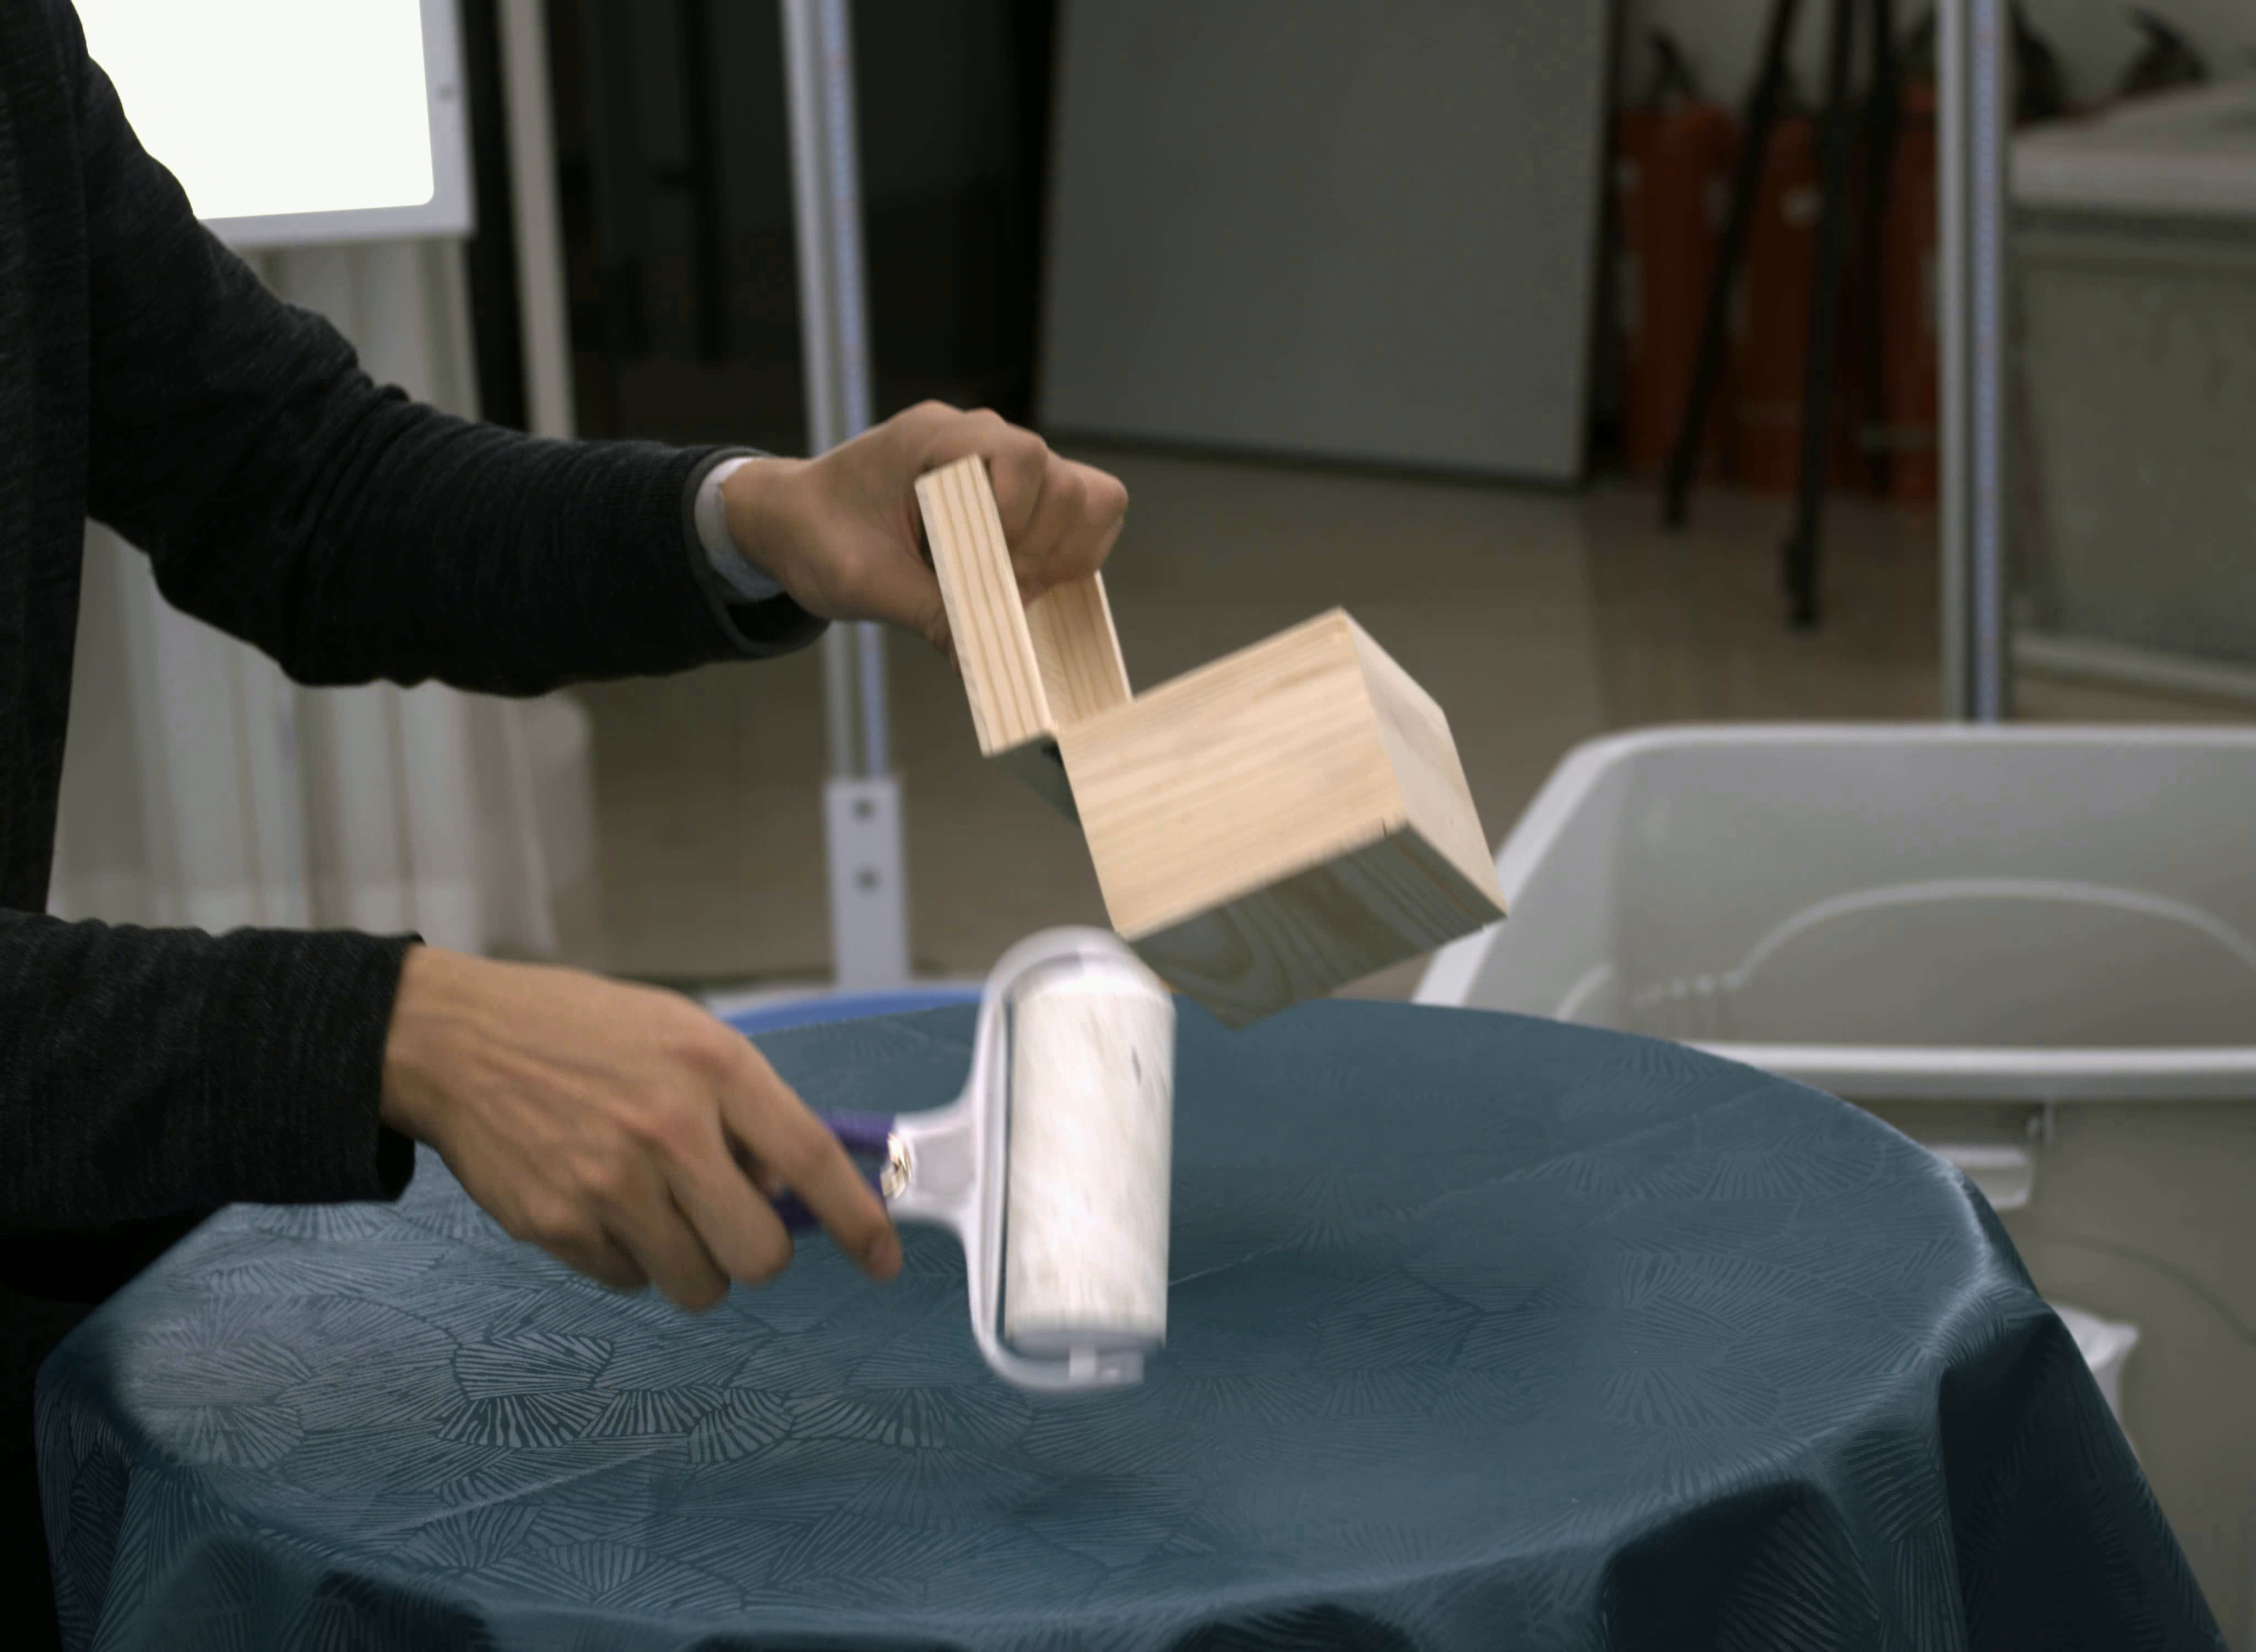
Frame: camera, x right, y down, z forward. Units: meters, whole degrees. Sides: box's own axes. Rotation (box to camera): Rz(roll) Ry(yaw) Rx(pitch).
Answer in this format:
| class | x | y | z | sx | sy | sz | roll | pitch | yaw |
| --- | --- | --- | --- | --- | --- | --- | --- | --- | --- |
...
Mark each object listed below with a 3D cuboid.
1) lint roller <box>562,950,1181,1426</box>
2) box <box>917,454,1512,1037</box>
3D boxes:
| class | x | y | z | sx | sy | sz | roll | pitch | yaw |
| --- | --- | --- | --- | --- | --- | --- | --- | --- | --- |
| lint roller | -0.074 | 0.099 | 1.531 | 0.179 | 0.134 | 0.050 | 3 | -17 | 6 |
| box | 0.028 | -0.043 | 1.724 | 0.134 | 0.187 | 0.101 | -24 | -26 | 16 |
